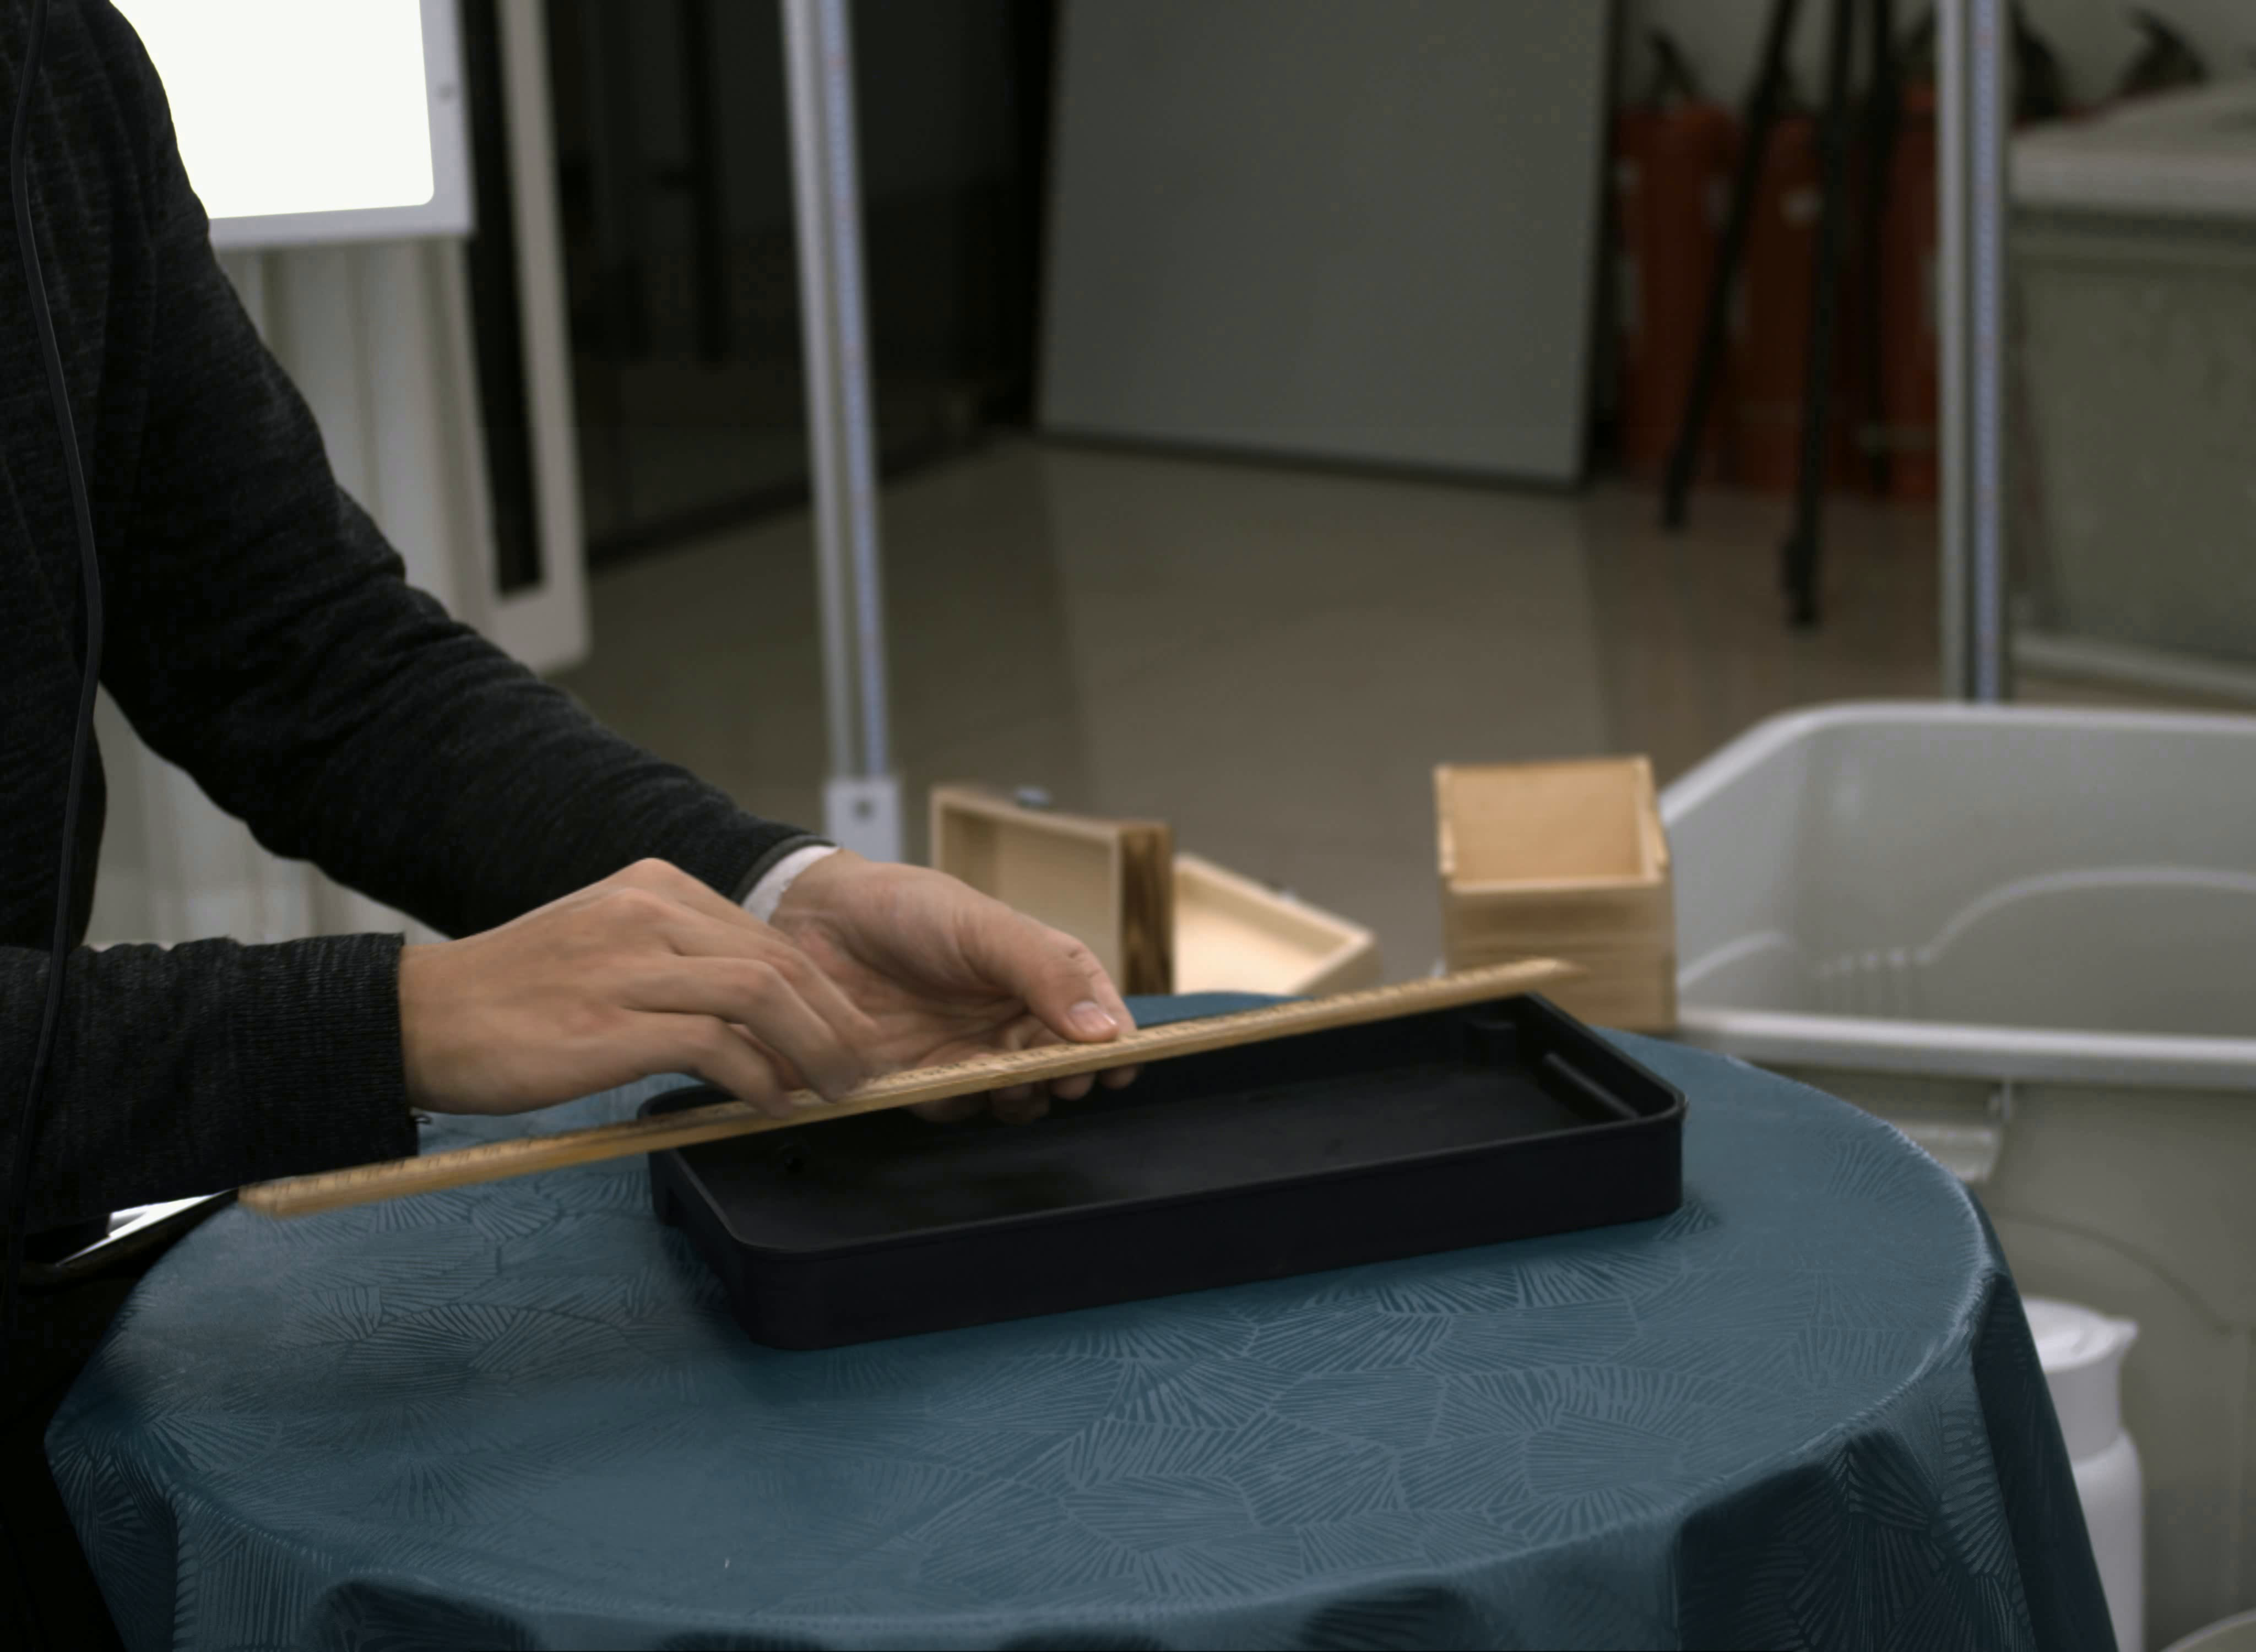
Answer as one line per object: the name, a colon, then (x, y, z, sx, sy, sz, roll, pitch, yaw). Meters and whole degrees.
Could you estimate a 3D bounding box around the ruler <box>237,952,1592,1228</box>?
ruler: (-0.050, 0.078, 1.679, 0.489, 0.006, 0.027, -9, 8, -34)

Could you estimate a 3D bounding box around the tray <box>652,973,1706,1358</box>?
tray: (0.015, 0.106, 1.752, 0.312, 0.037, 0.186, -9, 14, -16)
